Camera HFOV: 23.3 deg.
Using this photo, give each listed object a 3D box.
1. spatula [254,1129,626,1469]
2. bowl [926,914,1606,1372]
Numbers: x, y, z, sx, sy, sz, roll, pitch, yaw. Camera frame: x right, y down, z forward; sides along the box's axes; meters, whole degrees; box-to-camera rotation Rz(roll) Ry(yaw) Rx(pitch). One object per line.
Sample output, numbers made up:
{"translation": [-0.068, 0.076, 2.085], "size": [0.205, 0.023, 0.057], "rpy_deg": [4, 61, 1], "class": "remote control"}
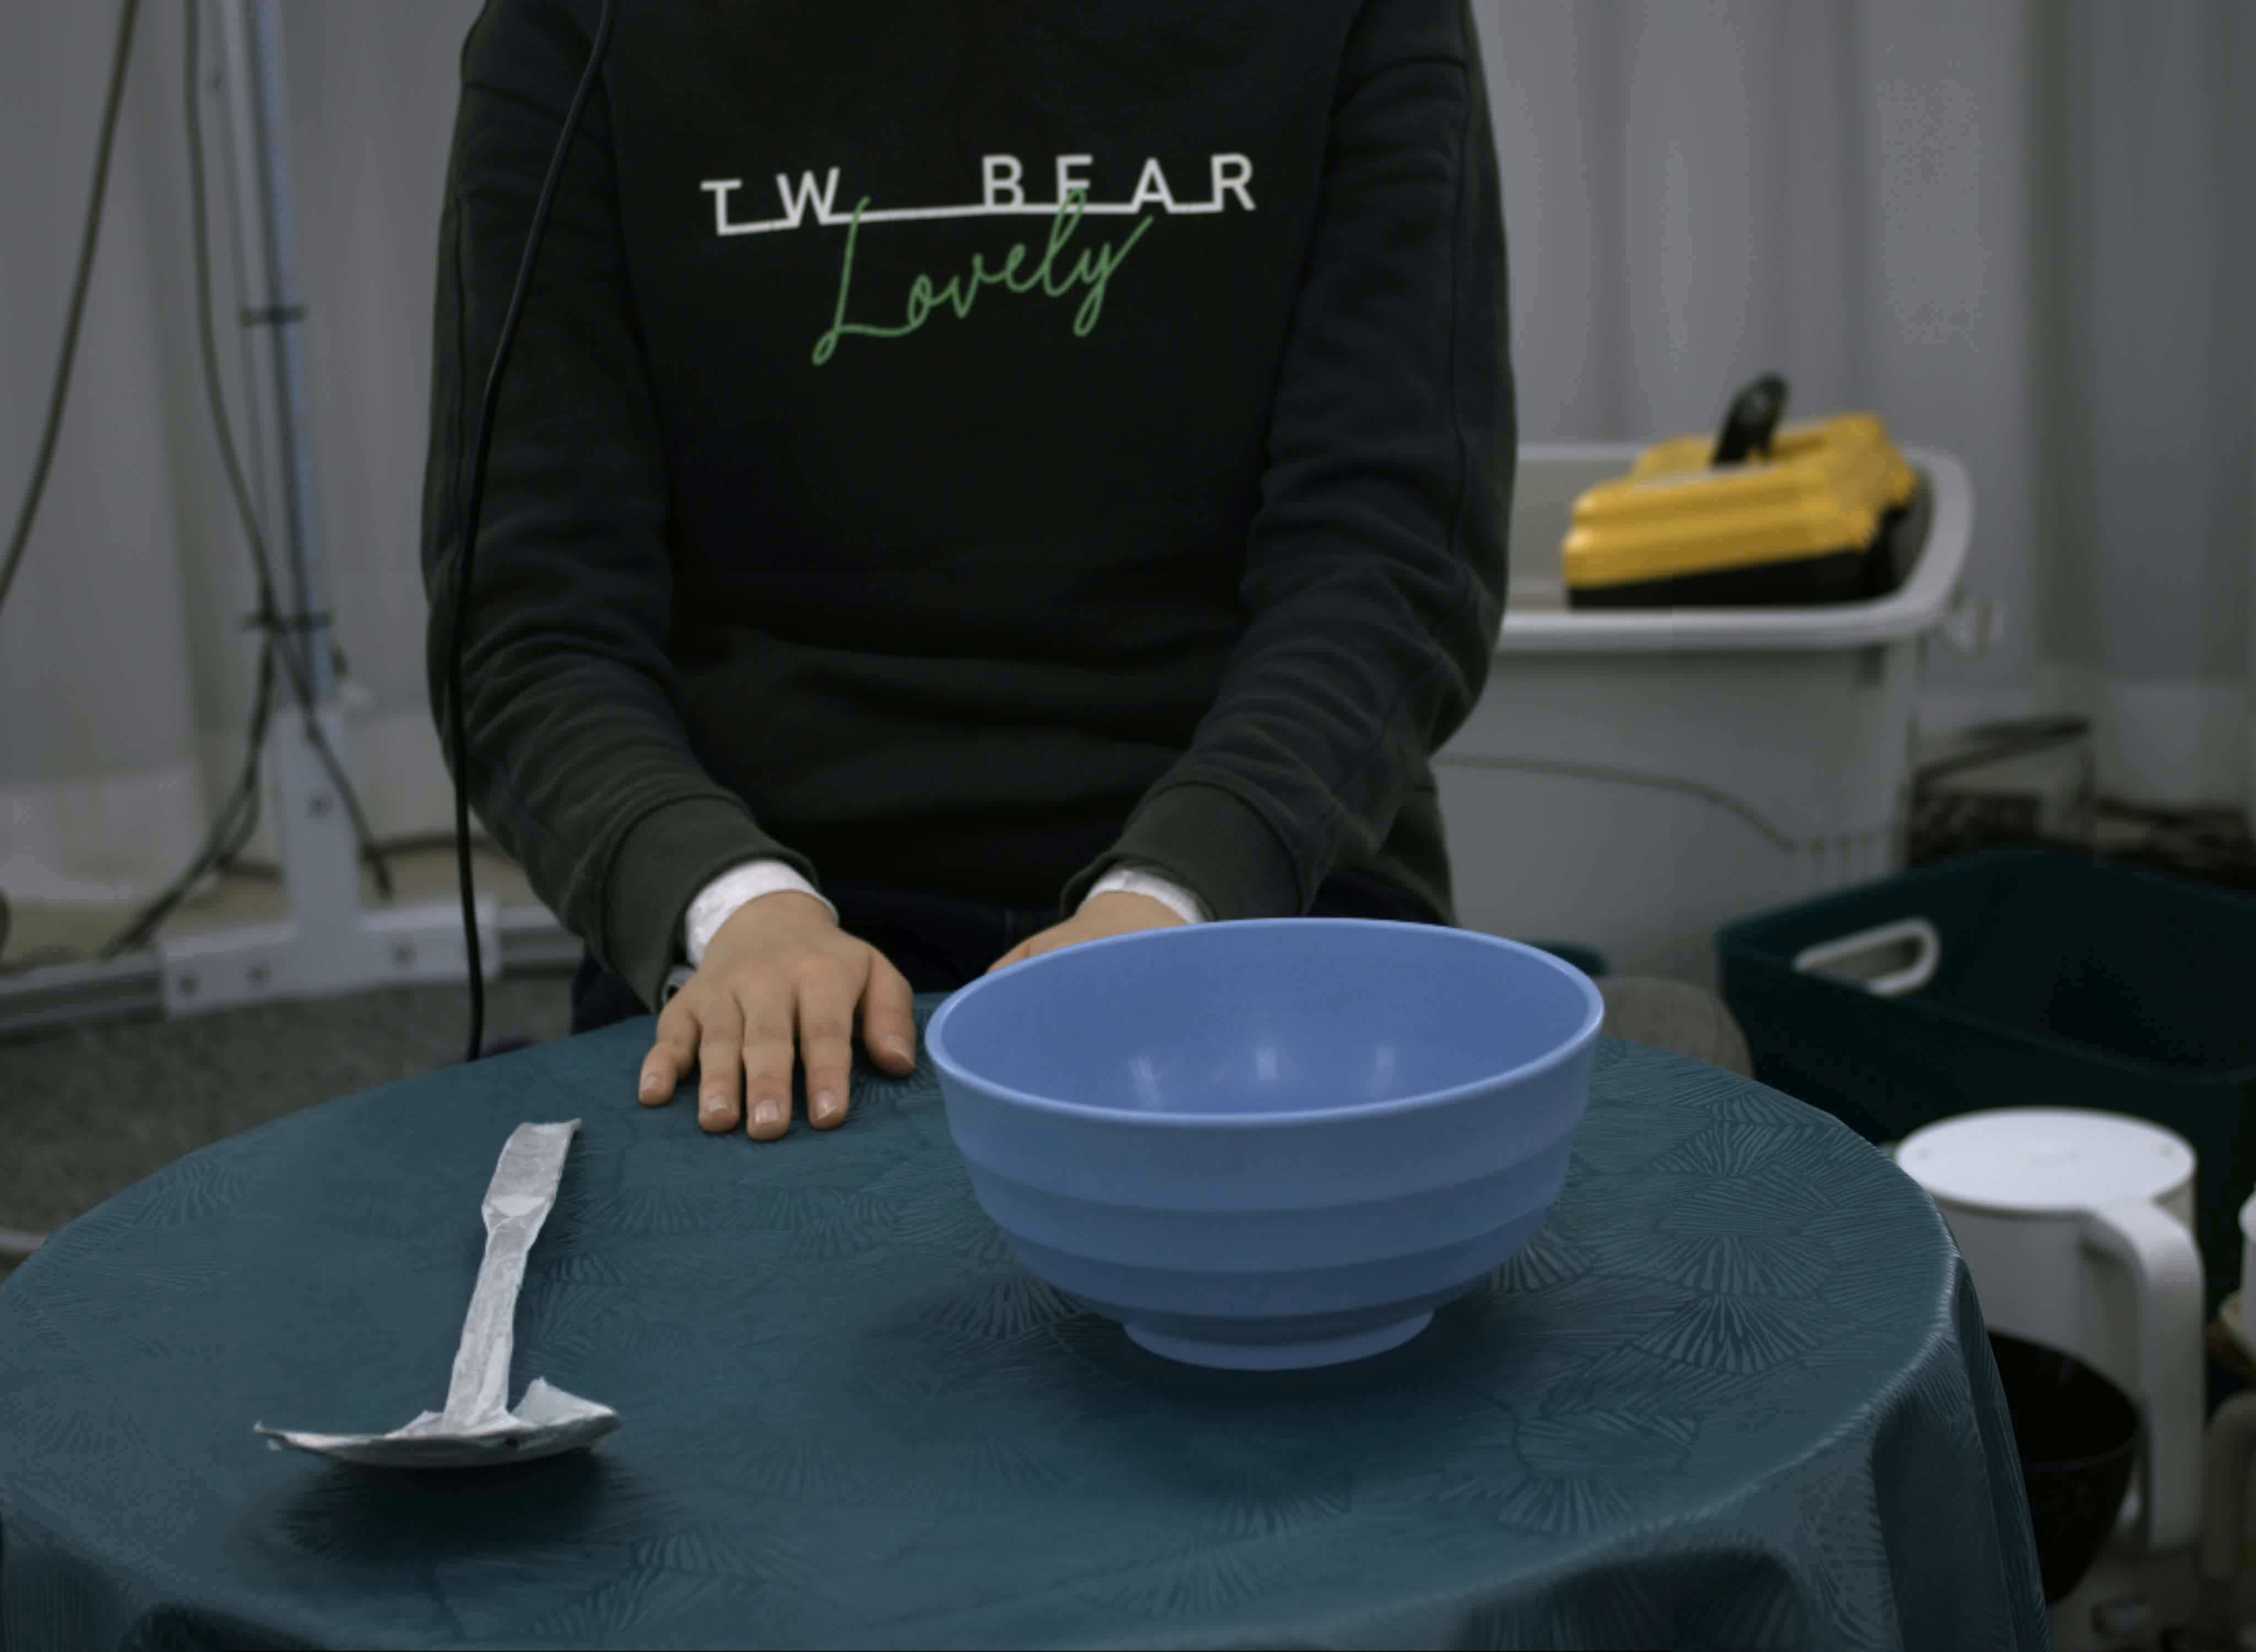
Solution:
{"translation": [-0.182, 0.131, 1.614], "size": [0.098, 0.044, 0.367], "rpy_deg": [-4, 15, 1], "class": "spatula"}
{"translation": [0.042, 0.098, 1.586], "size": [0.196, 0.095, 0.198], "rpy_deg": [-4, 15, 1], "class": "bowl"}
